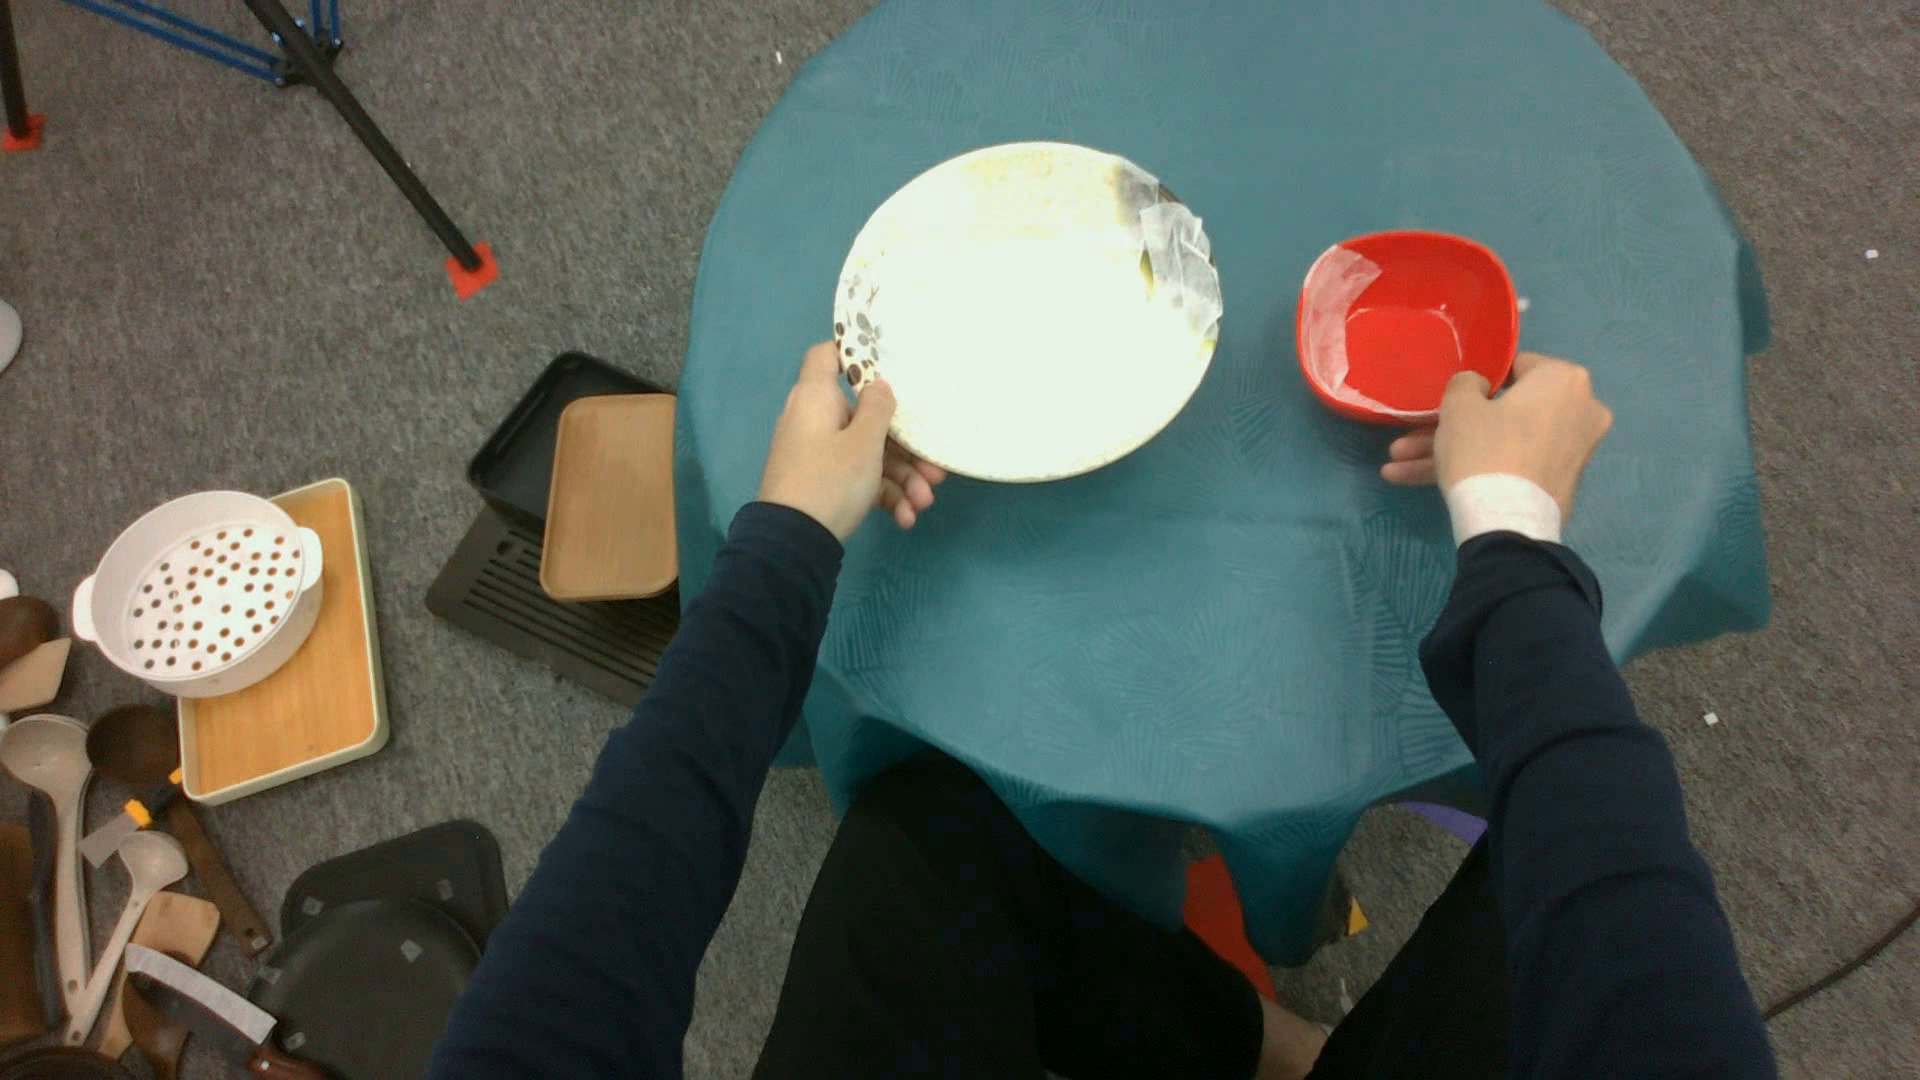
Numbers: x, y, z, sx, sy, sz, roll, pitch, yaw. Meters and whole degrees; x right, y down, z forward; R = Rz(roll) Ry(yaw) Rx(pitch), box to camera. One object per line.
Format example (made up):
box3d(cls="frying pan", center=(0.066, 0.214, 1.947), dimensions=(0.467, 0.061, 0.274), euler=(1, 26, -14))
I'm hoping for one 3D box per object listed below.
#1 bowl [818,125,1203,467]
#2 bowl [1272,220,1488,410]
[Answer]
box3d(cls="bowl", center=(0.029, -0.121, 0.756), dimensions=(0.204, 0.078, 0.204), euler=(-2, 70, 7))
box3d(cls="bowl", center=(0.223, -0.113, 0.746), dimensions=(0.119, 0.051, 0.119), euler=(-2, 66, 5))
